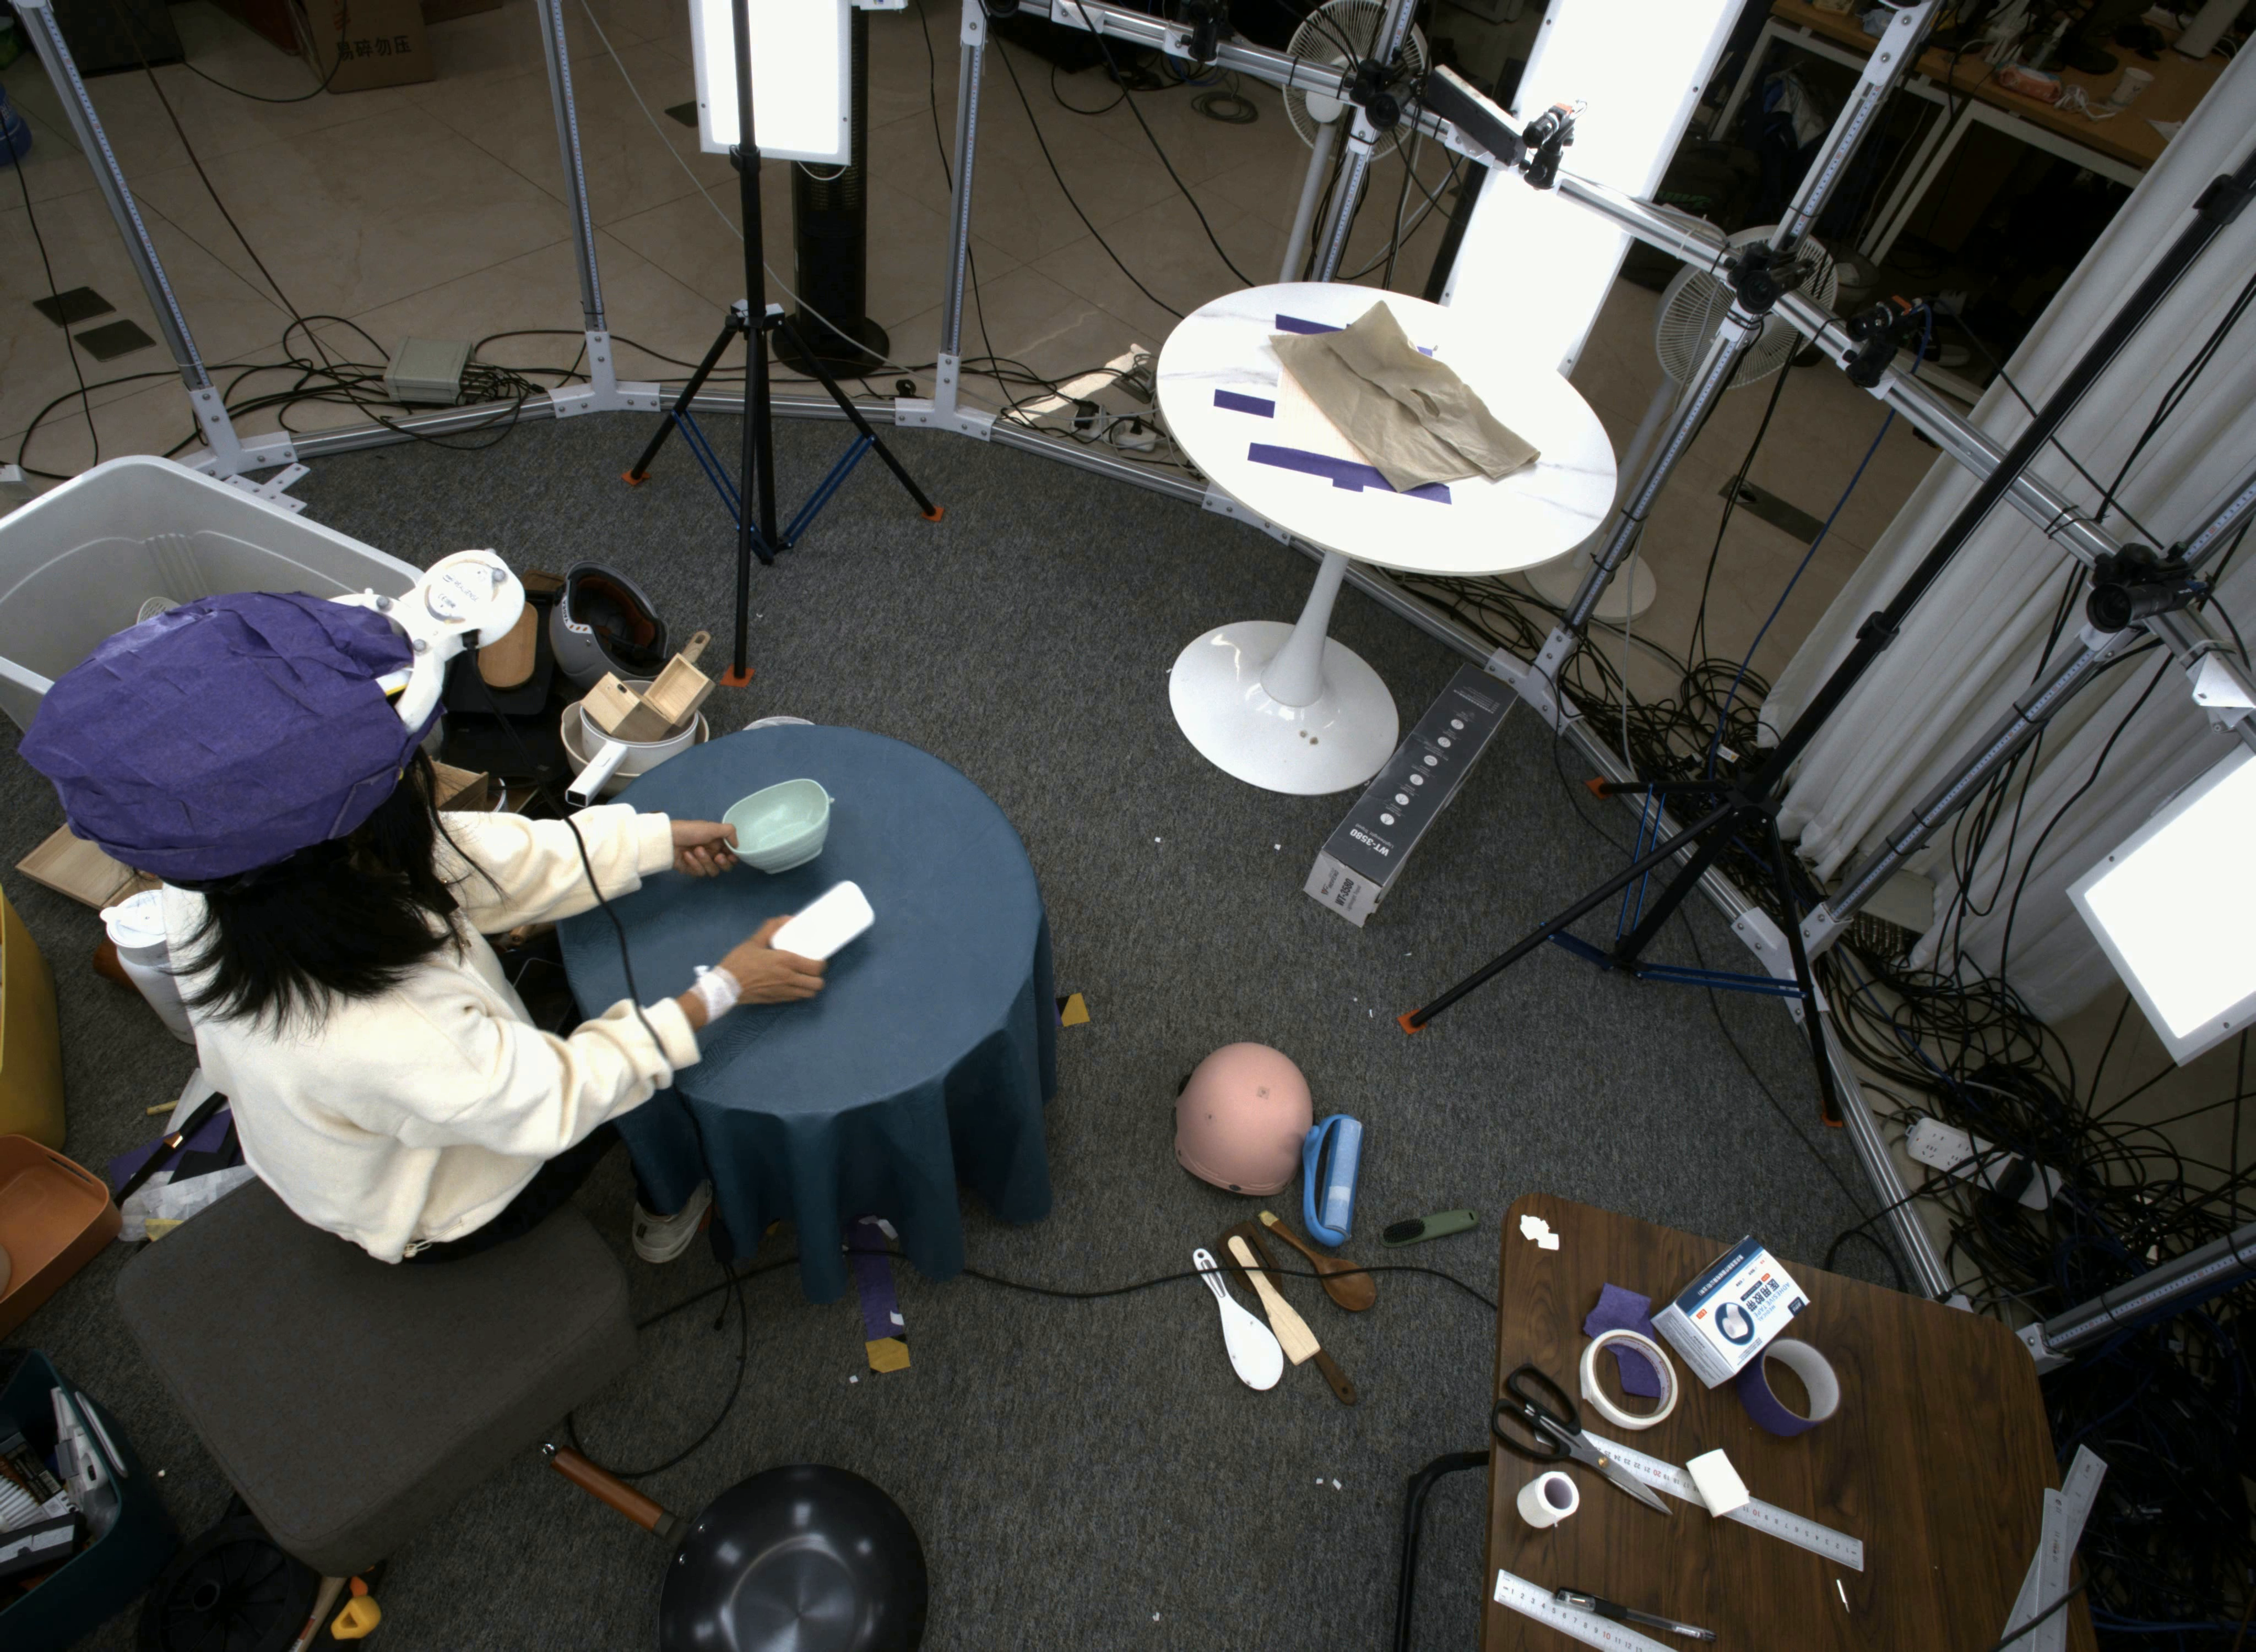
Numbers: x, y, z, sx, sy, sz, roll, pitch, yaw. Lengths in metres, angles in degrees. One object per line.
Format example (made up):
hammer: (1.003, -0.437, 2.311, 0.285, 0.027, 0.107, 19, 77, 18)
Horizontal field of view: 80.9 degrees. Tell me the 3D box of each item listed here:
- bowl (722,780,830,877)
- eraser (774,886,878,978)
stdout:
bowl: (-0.438, 0.009, 1.641, 0.149, 0.061, 0.148, -8, 39, 8)
eraser: (-0.368, 0.126, 1.578, 0.131, 0.033, 0.065, -38, 107, -35)
